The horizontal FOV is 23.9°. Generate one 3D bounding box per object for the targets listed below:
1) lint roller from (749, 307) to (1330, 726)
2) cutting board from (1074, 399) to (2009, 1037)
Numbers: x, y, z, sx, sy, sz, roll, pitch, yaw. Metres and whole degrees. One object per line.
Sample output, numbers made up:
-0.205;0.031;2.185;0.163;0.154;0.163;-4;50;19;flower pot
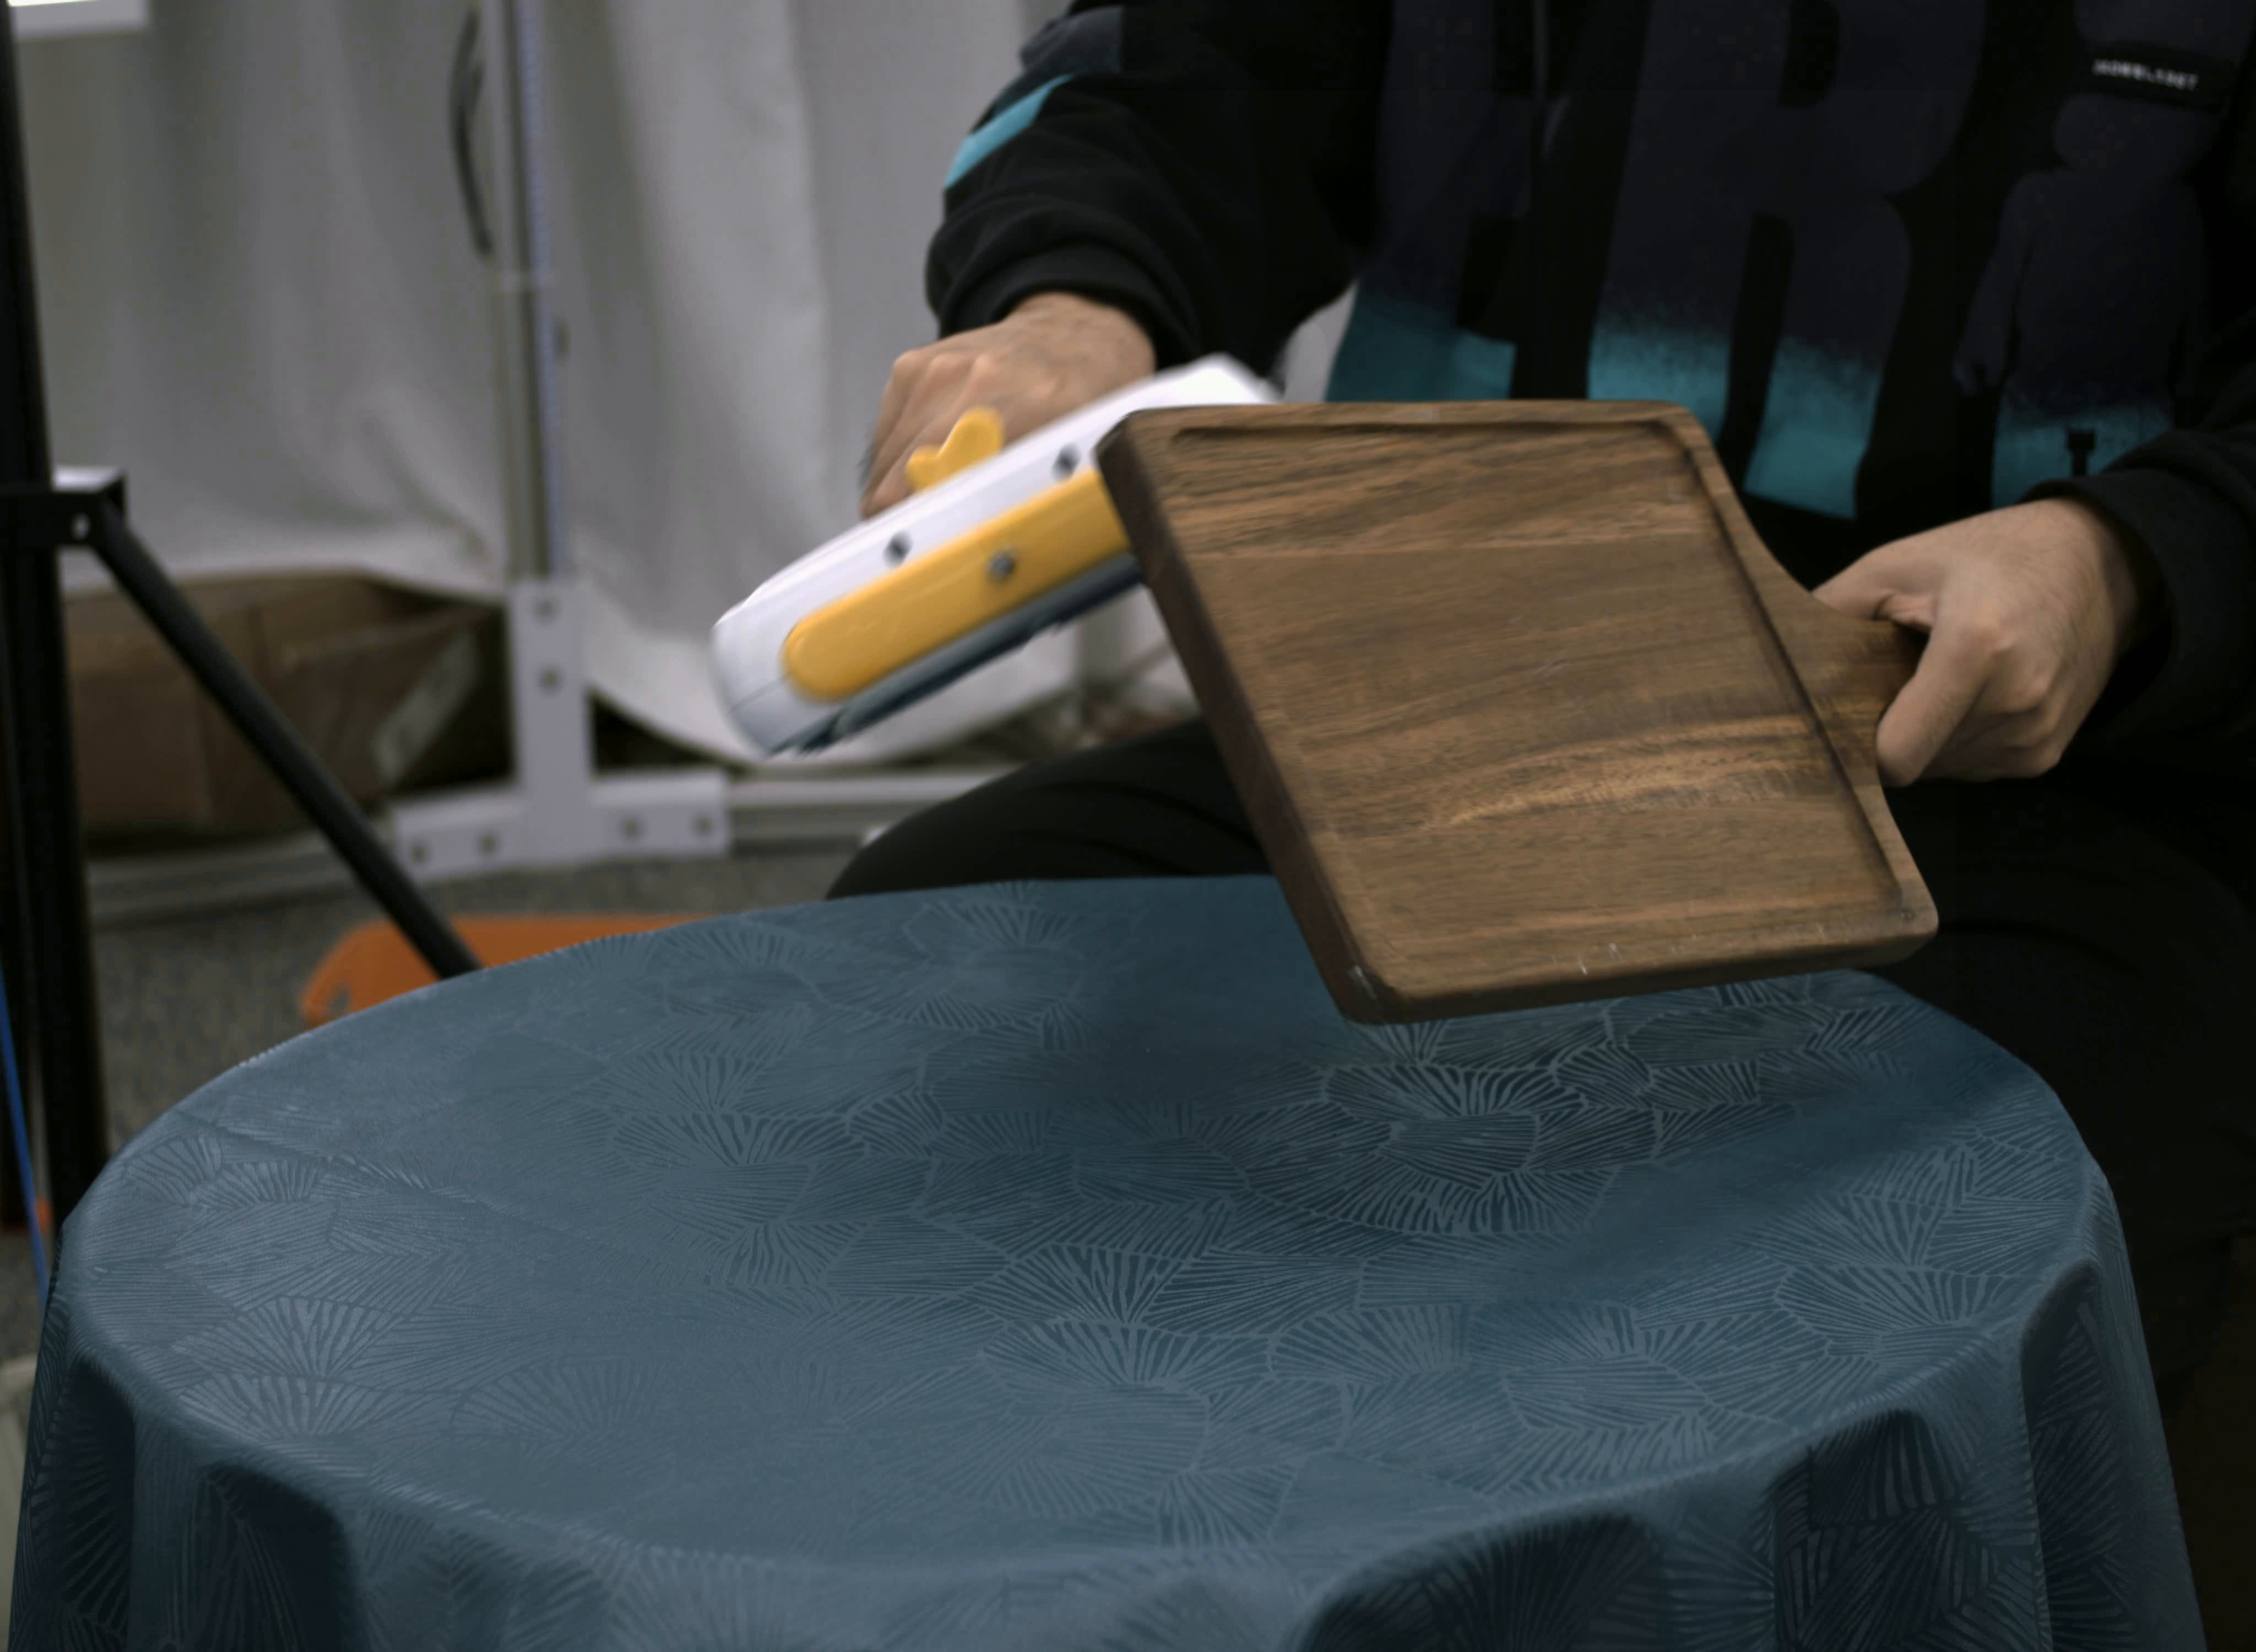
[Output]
-0.038;-0.103;1.686;0.192;0.074;0.193;-34;6;-2;lint roller
0.151;-0.041;1.601;0.343;0.204;0.023;-5;-30;-42;cutting board
